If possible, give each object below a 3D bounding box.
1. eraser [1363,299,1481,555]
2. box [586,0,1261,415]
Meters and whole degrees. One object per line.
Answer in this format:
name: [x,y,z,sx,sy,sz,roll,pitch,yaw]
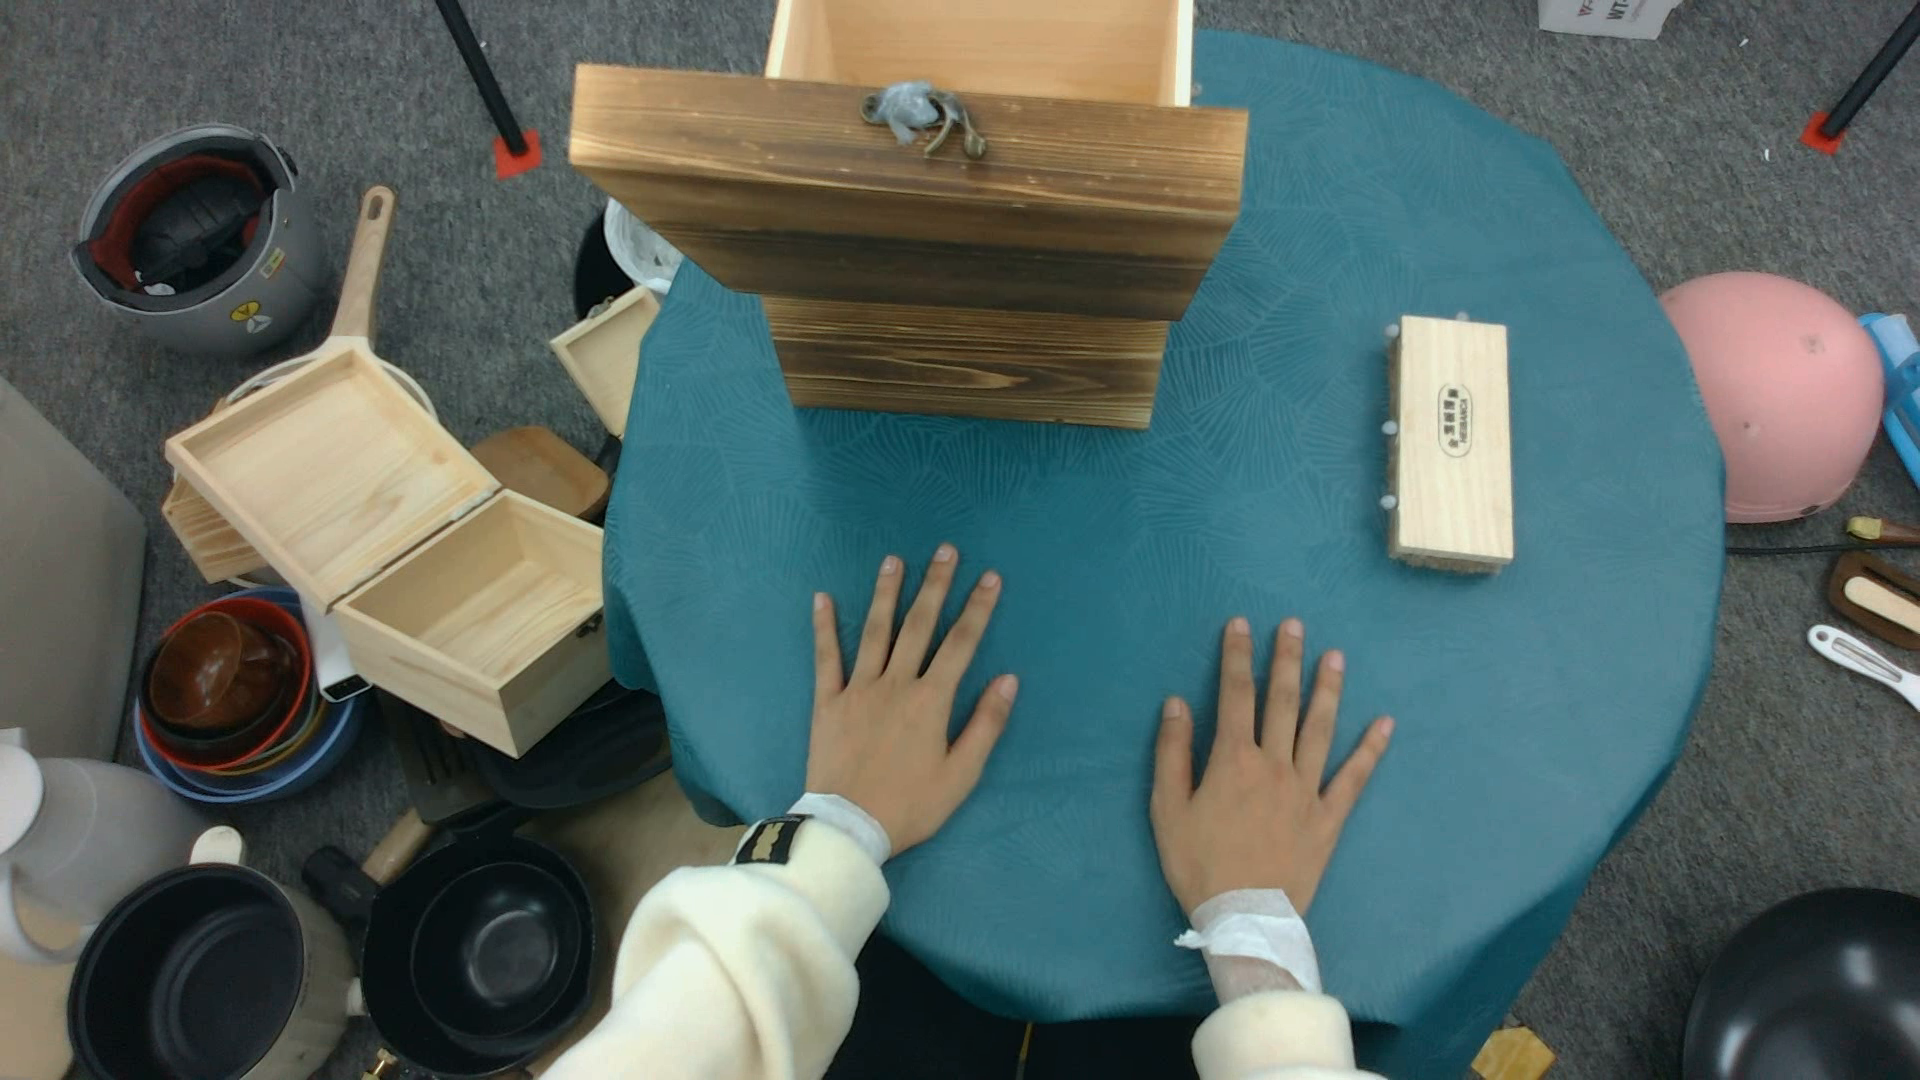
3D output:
eraser: [0.248,-0.061,0.740,0.057,0.029,0.140,8,67,1]
box: [-0.005,-0.193,0.622,0.209,0.374,0.323,4,66,2]
